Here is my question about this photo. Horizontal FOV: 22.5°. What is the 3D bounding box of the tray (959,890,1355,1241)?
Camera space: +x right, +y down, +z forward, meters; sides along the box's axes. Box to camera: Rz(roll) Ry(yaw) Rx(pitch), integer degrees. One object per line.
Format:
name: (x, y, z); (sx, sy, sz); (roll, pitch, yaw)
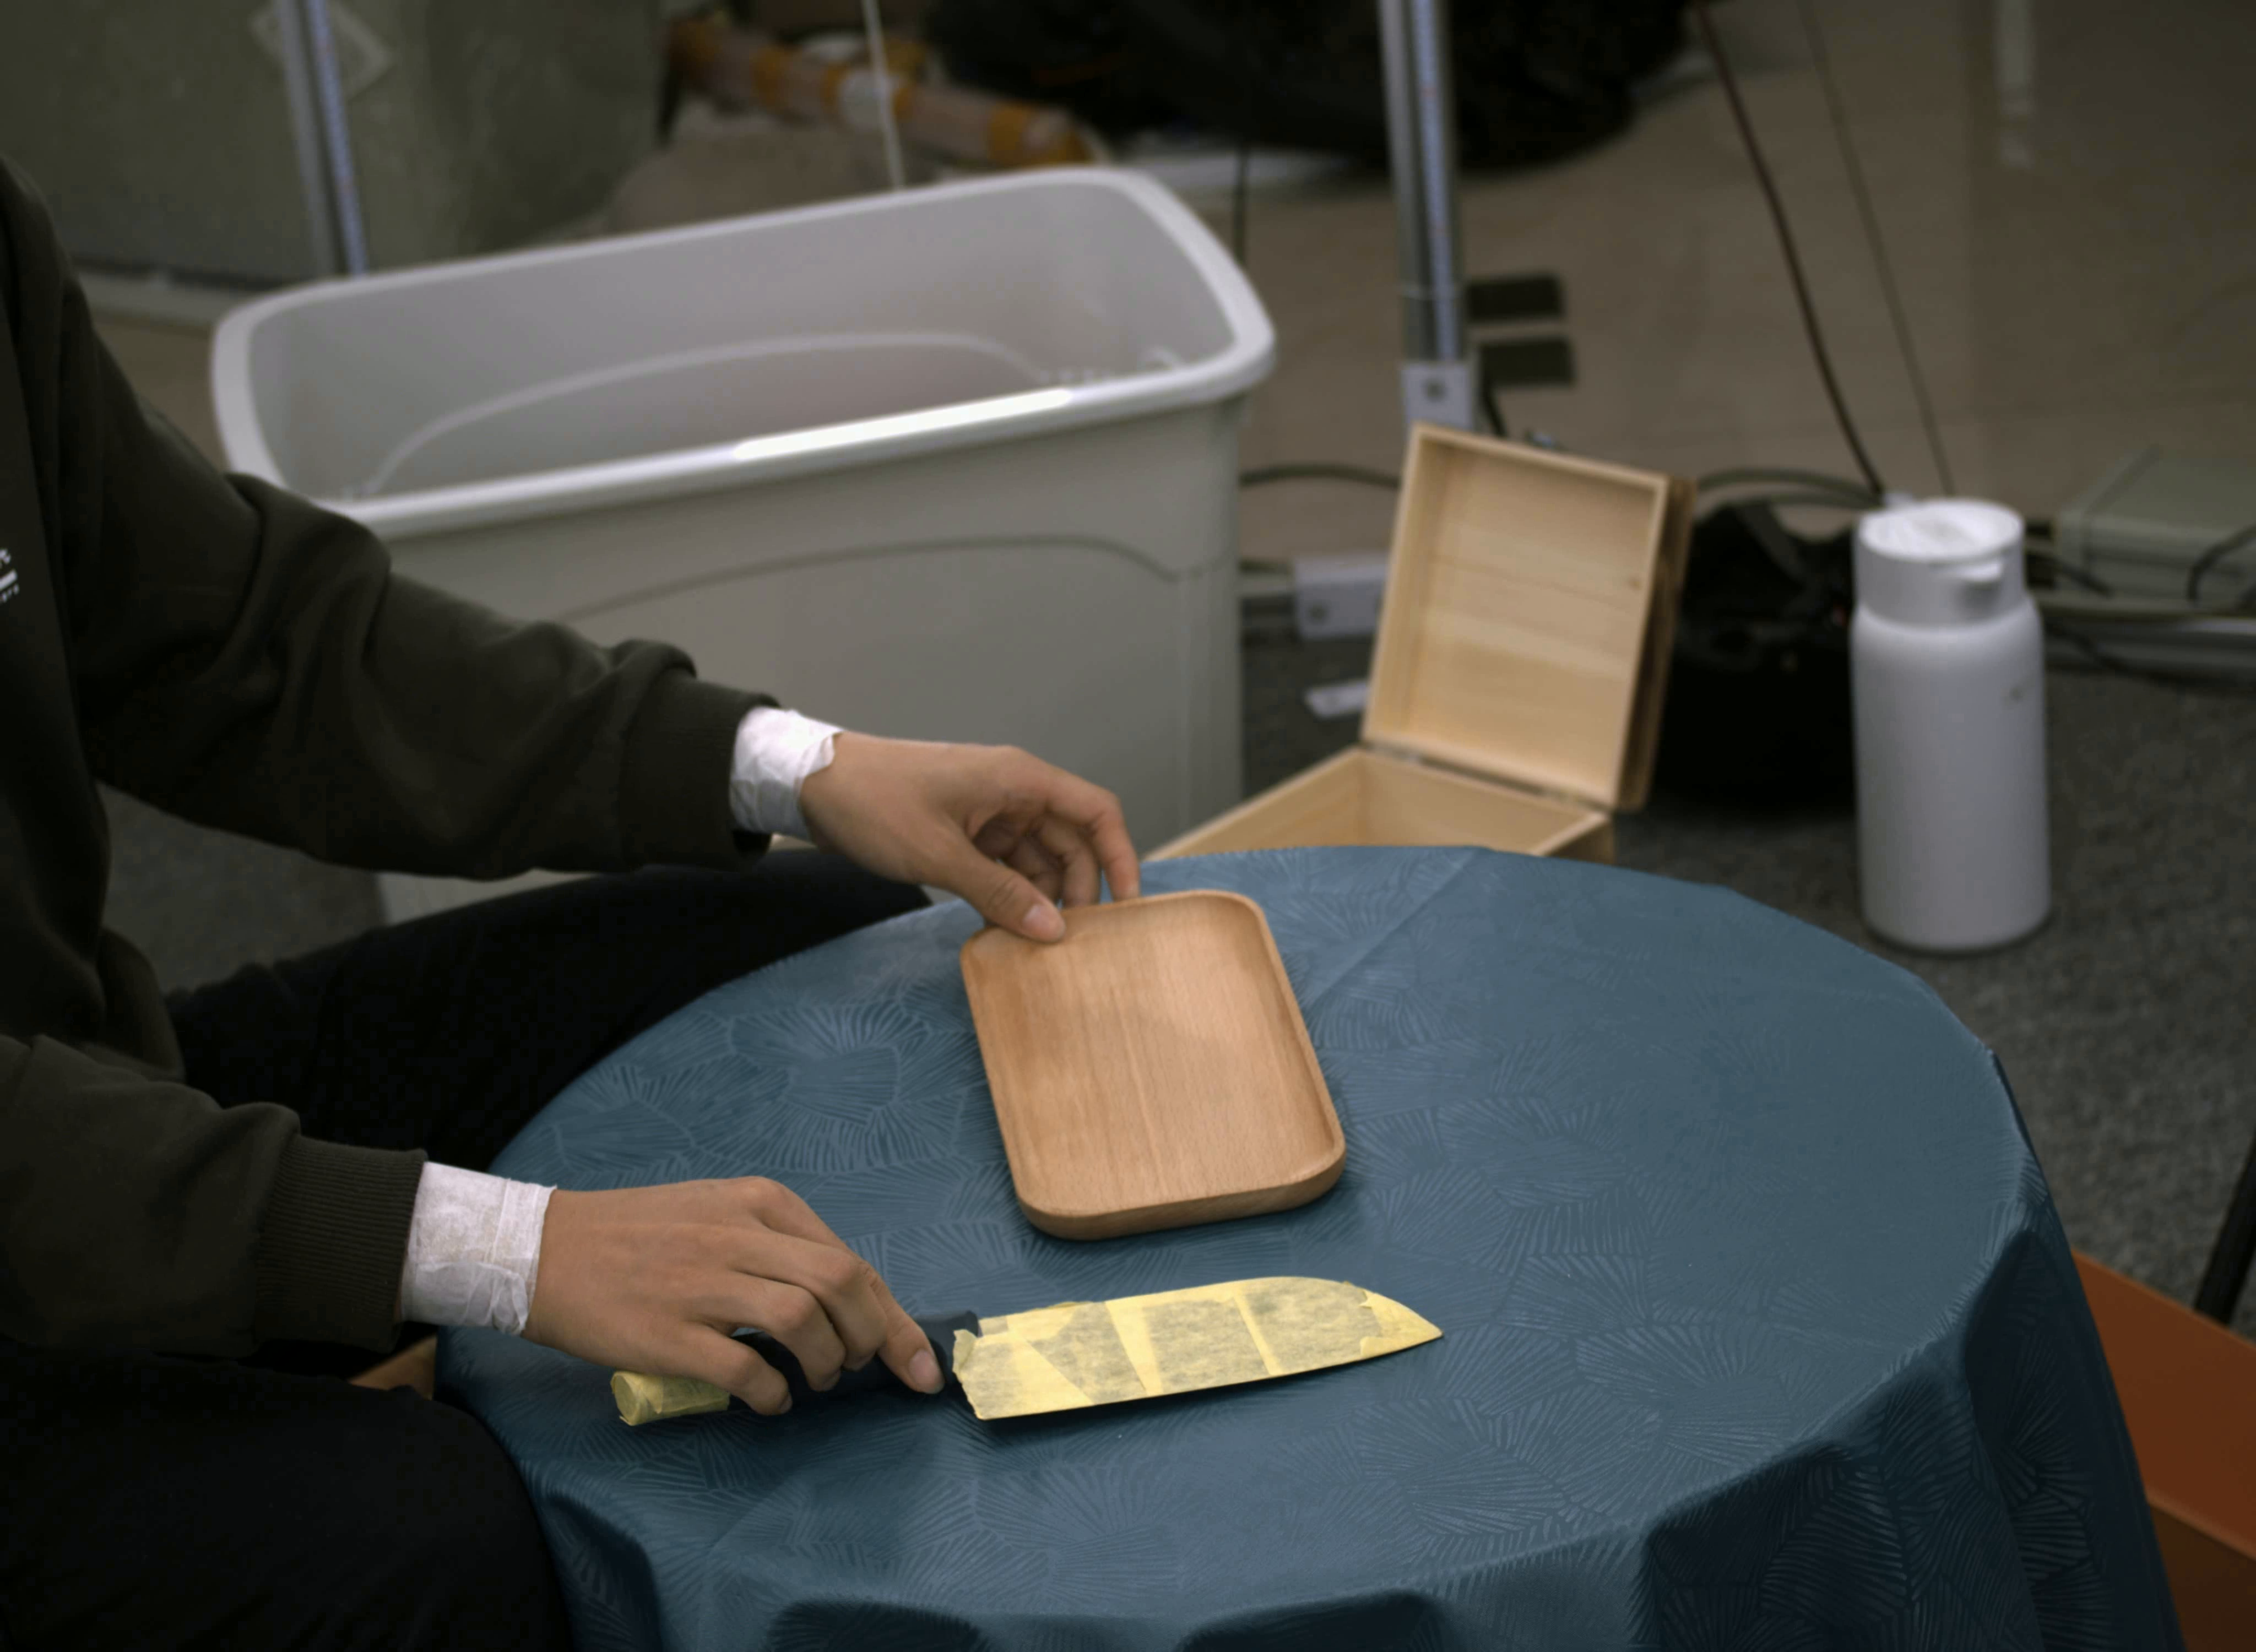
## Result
tray: (0.009, 0.092, 2.223); (0.130, 0.023, 0.247); (-11, 28, -3)

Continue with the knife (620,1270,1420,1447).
knife: (-0.037, 0.192, 2.027); (0.289, 0.027, 0.080); (-8, 22, -6)
